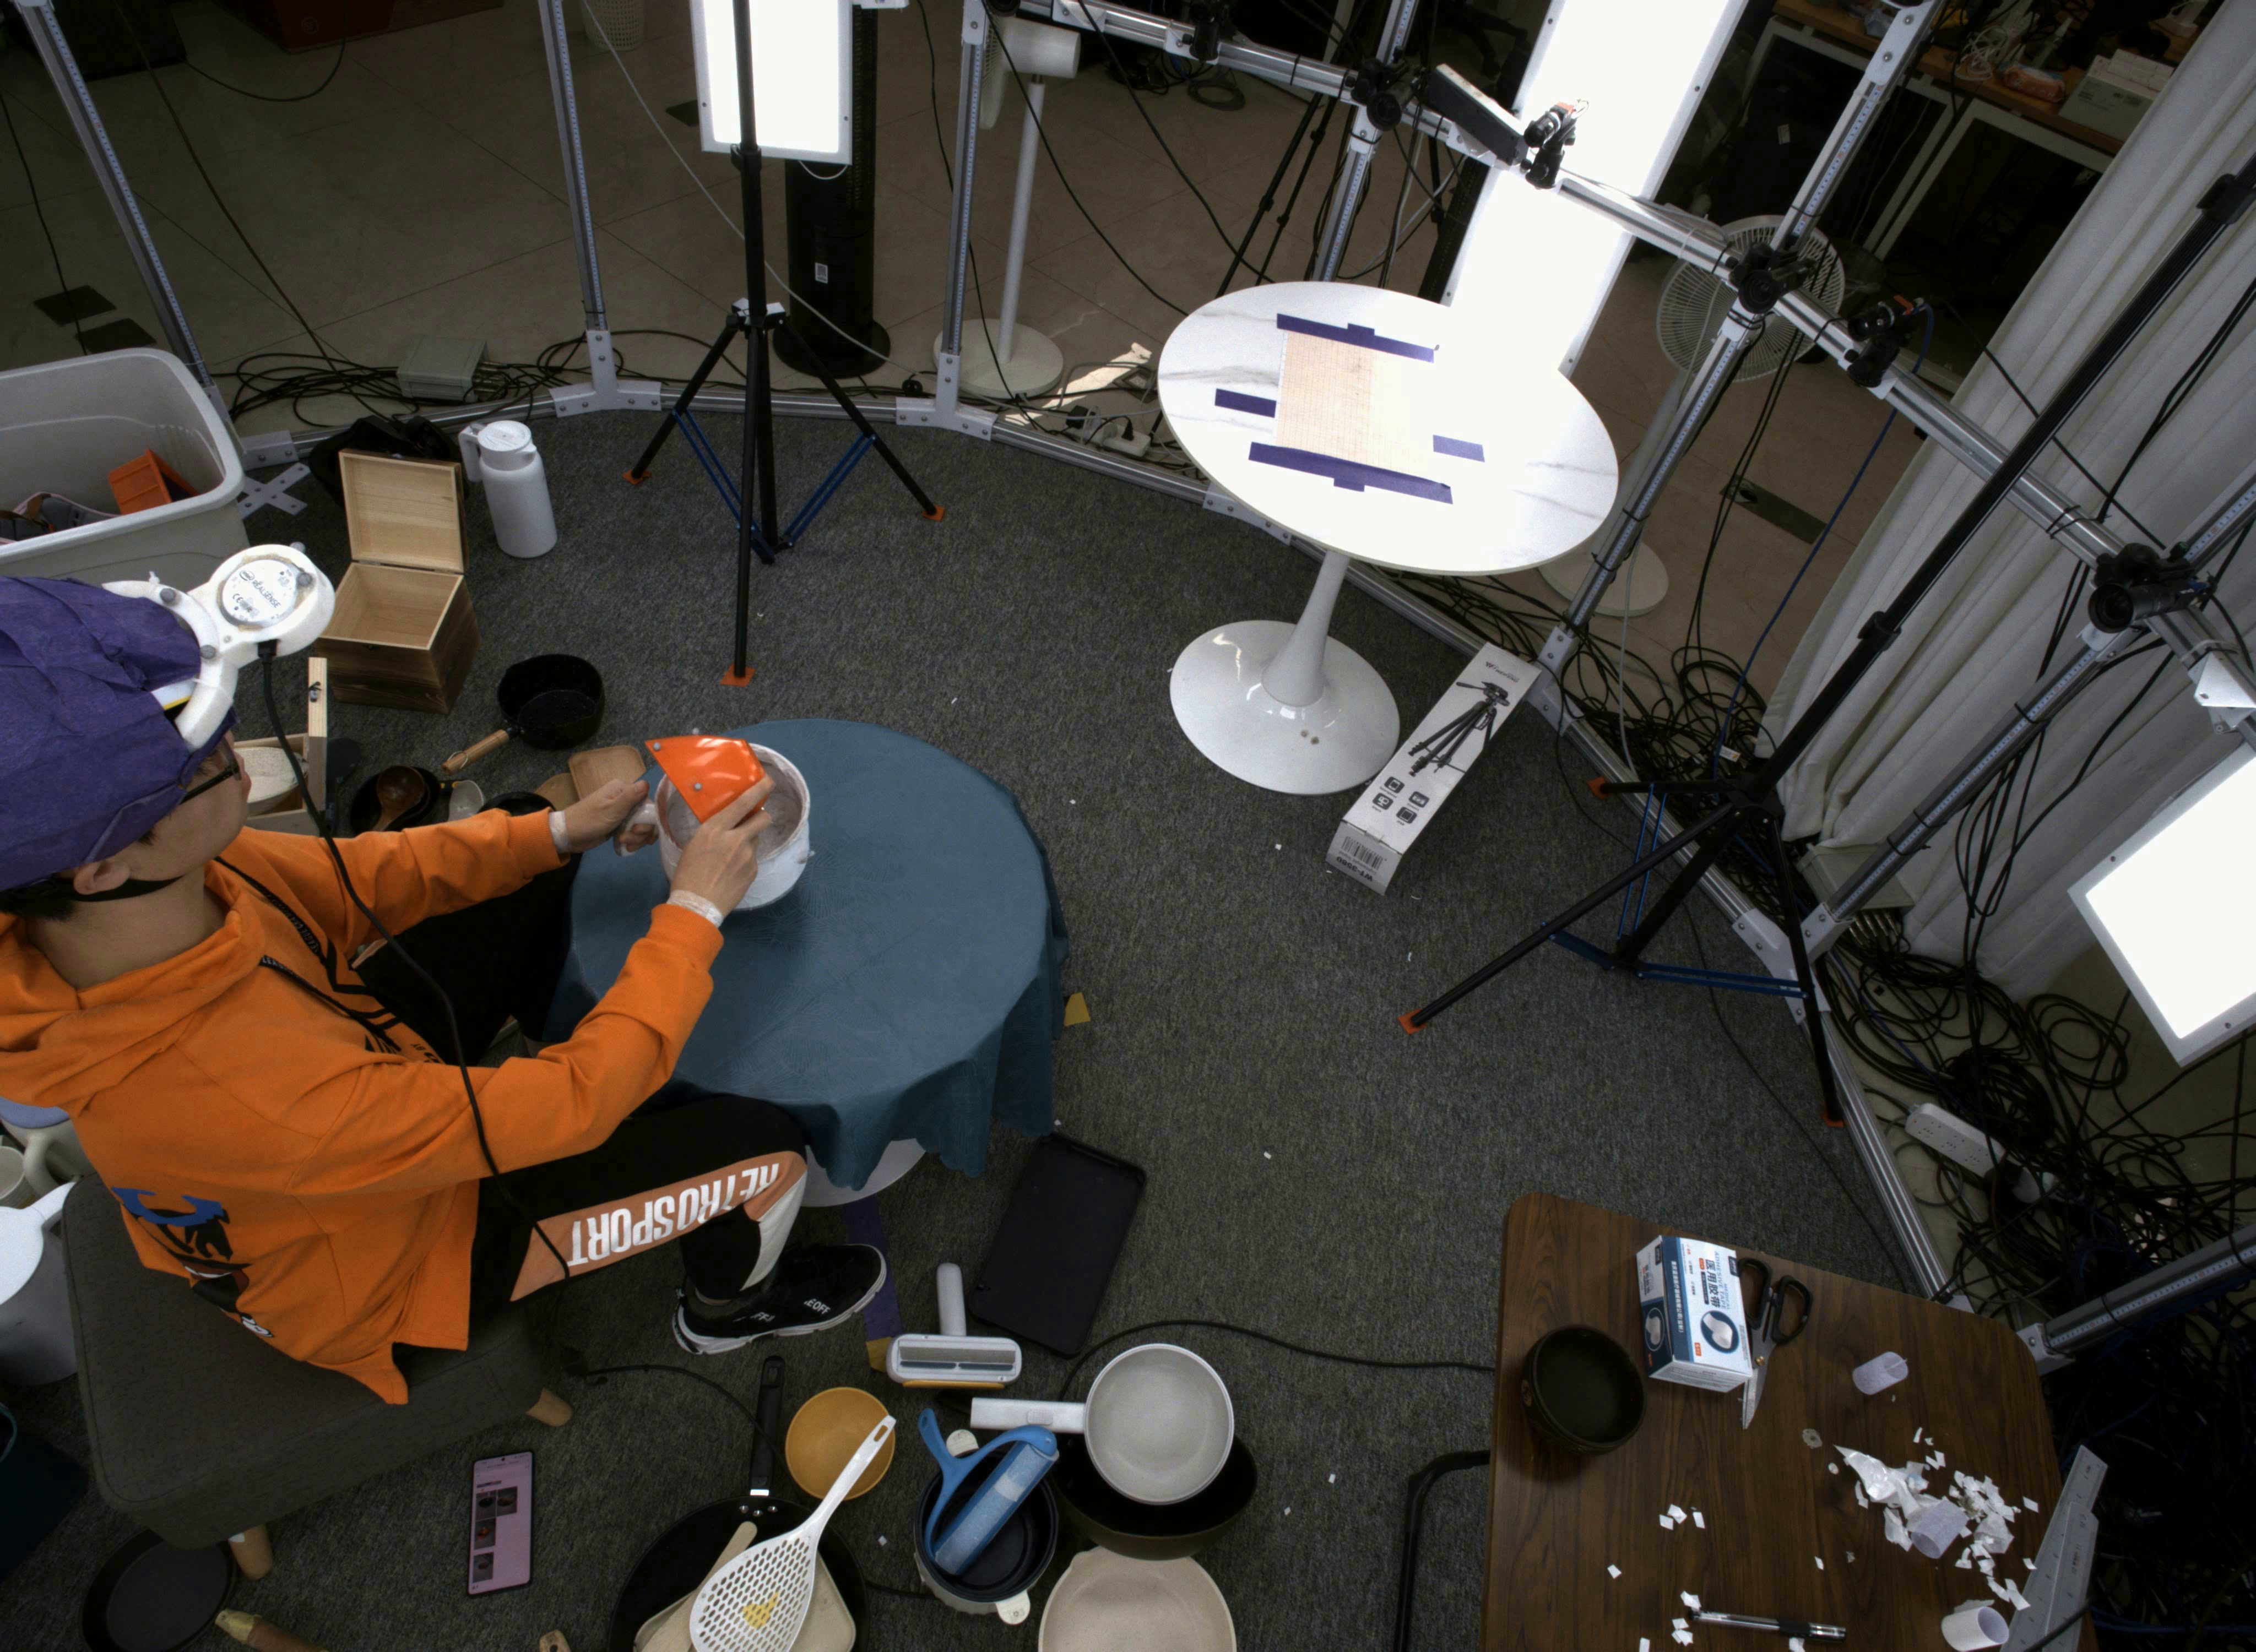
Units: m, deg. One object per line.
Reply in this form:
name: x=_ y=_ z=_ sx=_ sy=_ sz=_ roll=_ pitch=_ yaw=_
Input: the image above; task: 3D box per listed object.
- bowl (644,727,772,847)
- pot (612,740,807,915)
bowl: x=-0.462 y=-0.060 z=1.438 sx=0.104 sy=0.152 sz=0.144 roll=-29 pitch=62 yaw=-10
pot: x=-0.499 y=0.003 z=1.534 sx=0.234 sy=0.139 sz=0.175 roll=2 pitch=56 yaw=-15
